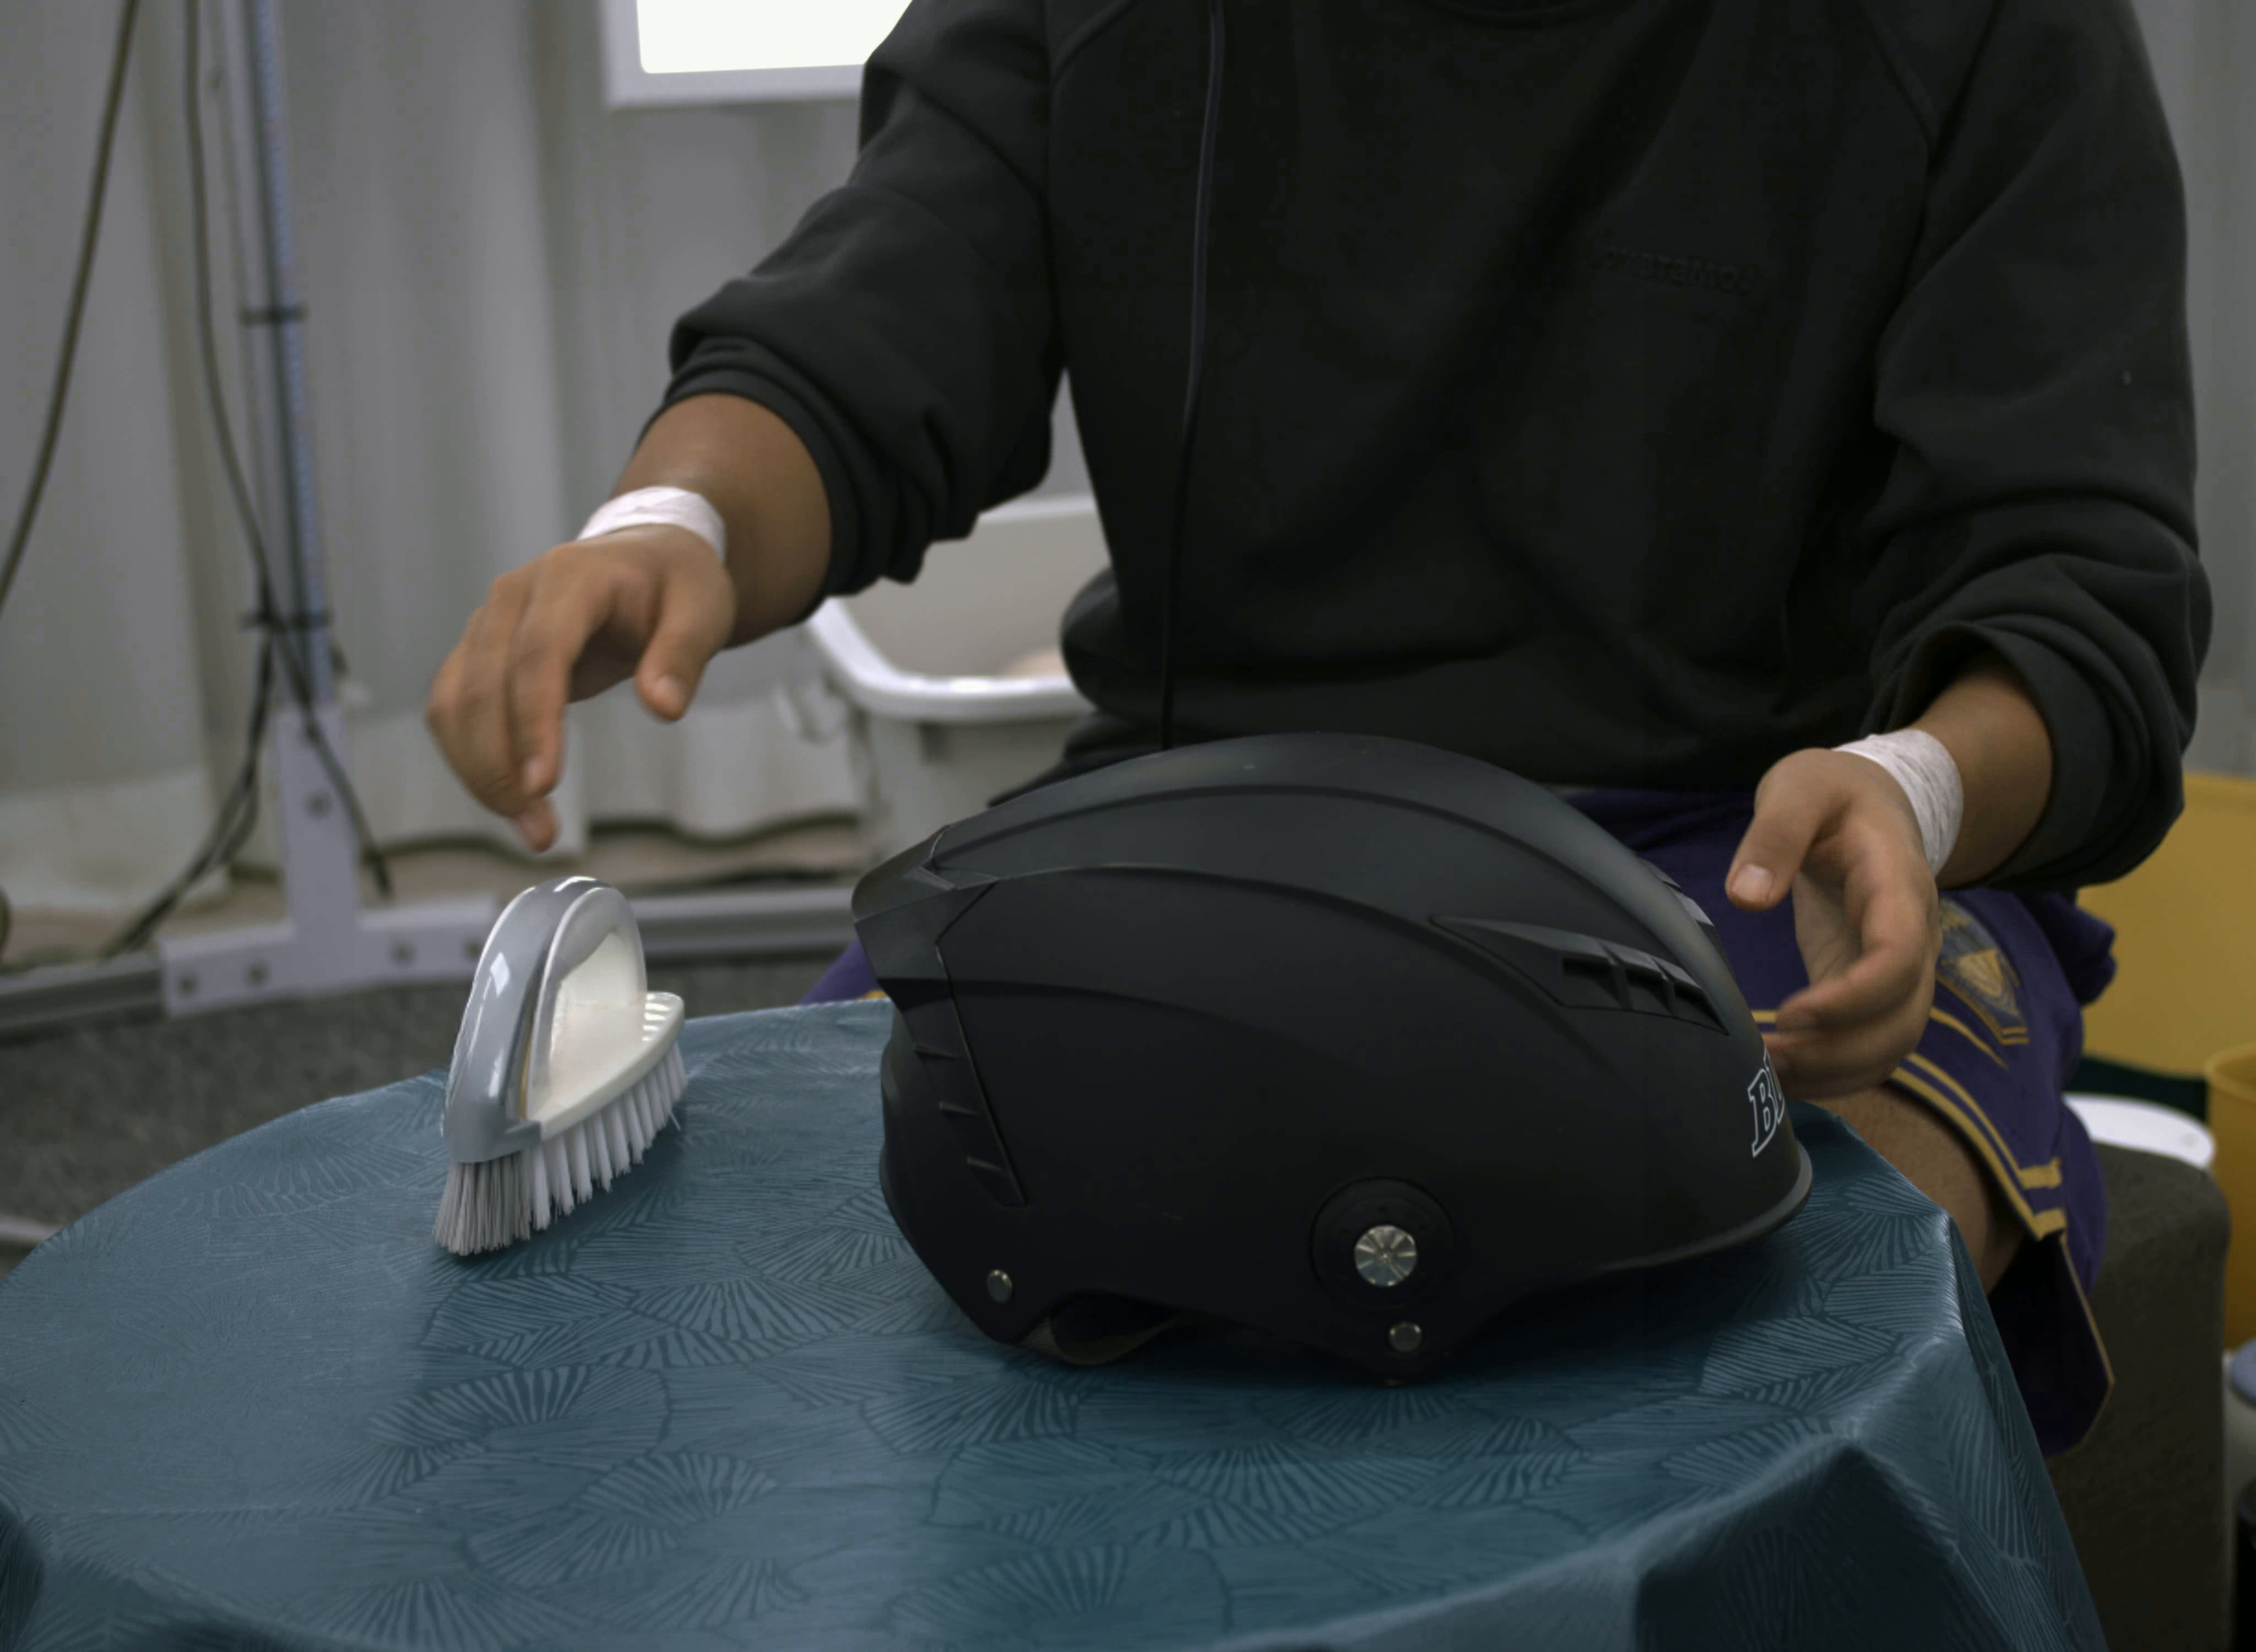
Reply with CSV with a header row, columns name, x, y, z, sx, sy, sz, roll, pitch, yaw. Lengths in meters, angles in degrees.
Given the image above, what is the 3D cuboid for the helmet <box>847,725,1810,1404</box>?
name,x,y,z,sx,sy,sz,roll,pitch,yaw
helmet,0.057,0.056,1.620,0.276,0.172,0.248,-4,15,13

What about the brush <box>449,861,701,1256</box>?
name,x,y,z,sx,sy,sz,roll,pitch,yaw
brush,-0.186,0.069,1.750,0.061,0.094,0.176,-1,17,12
